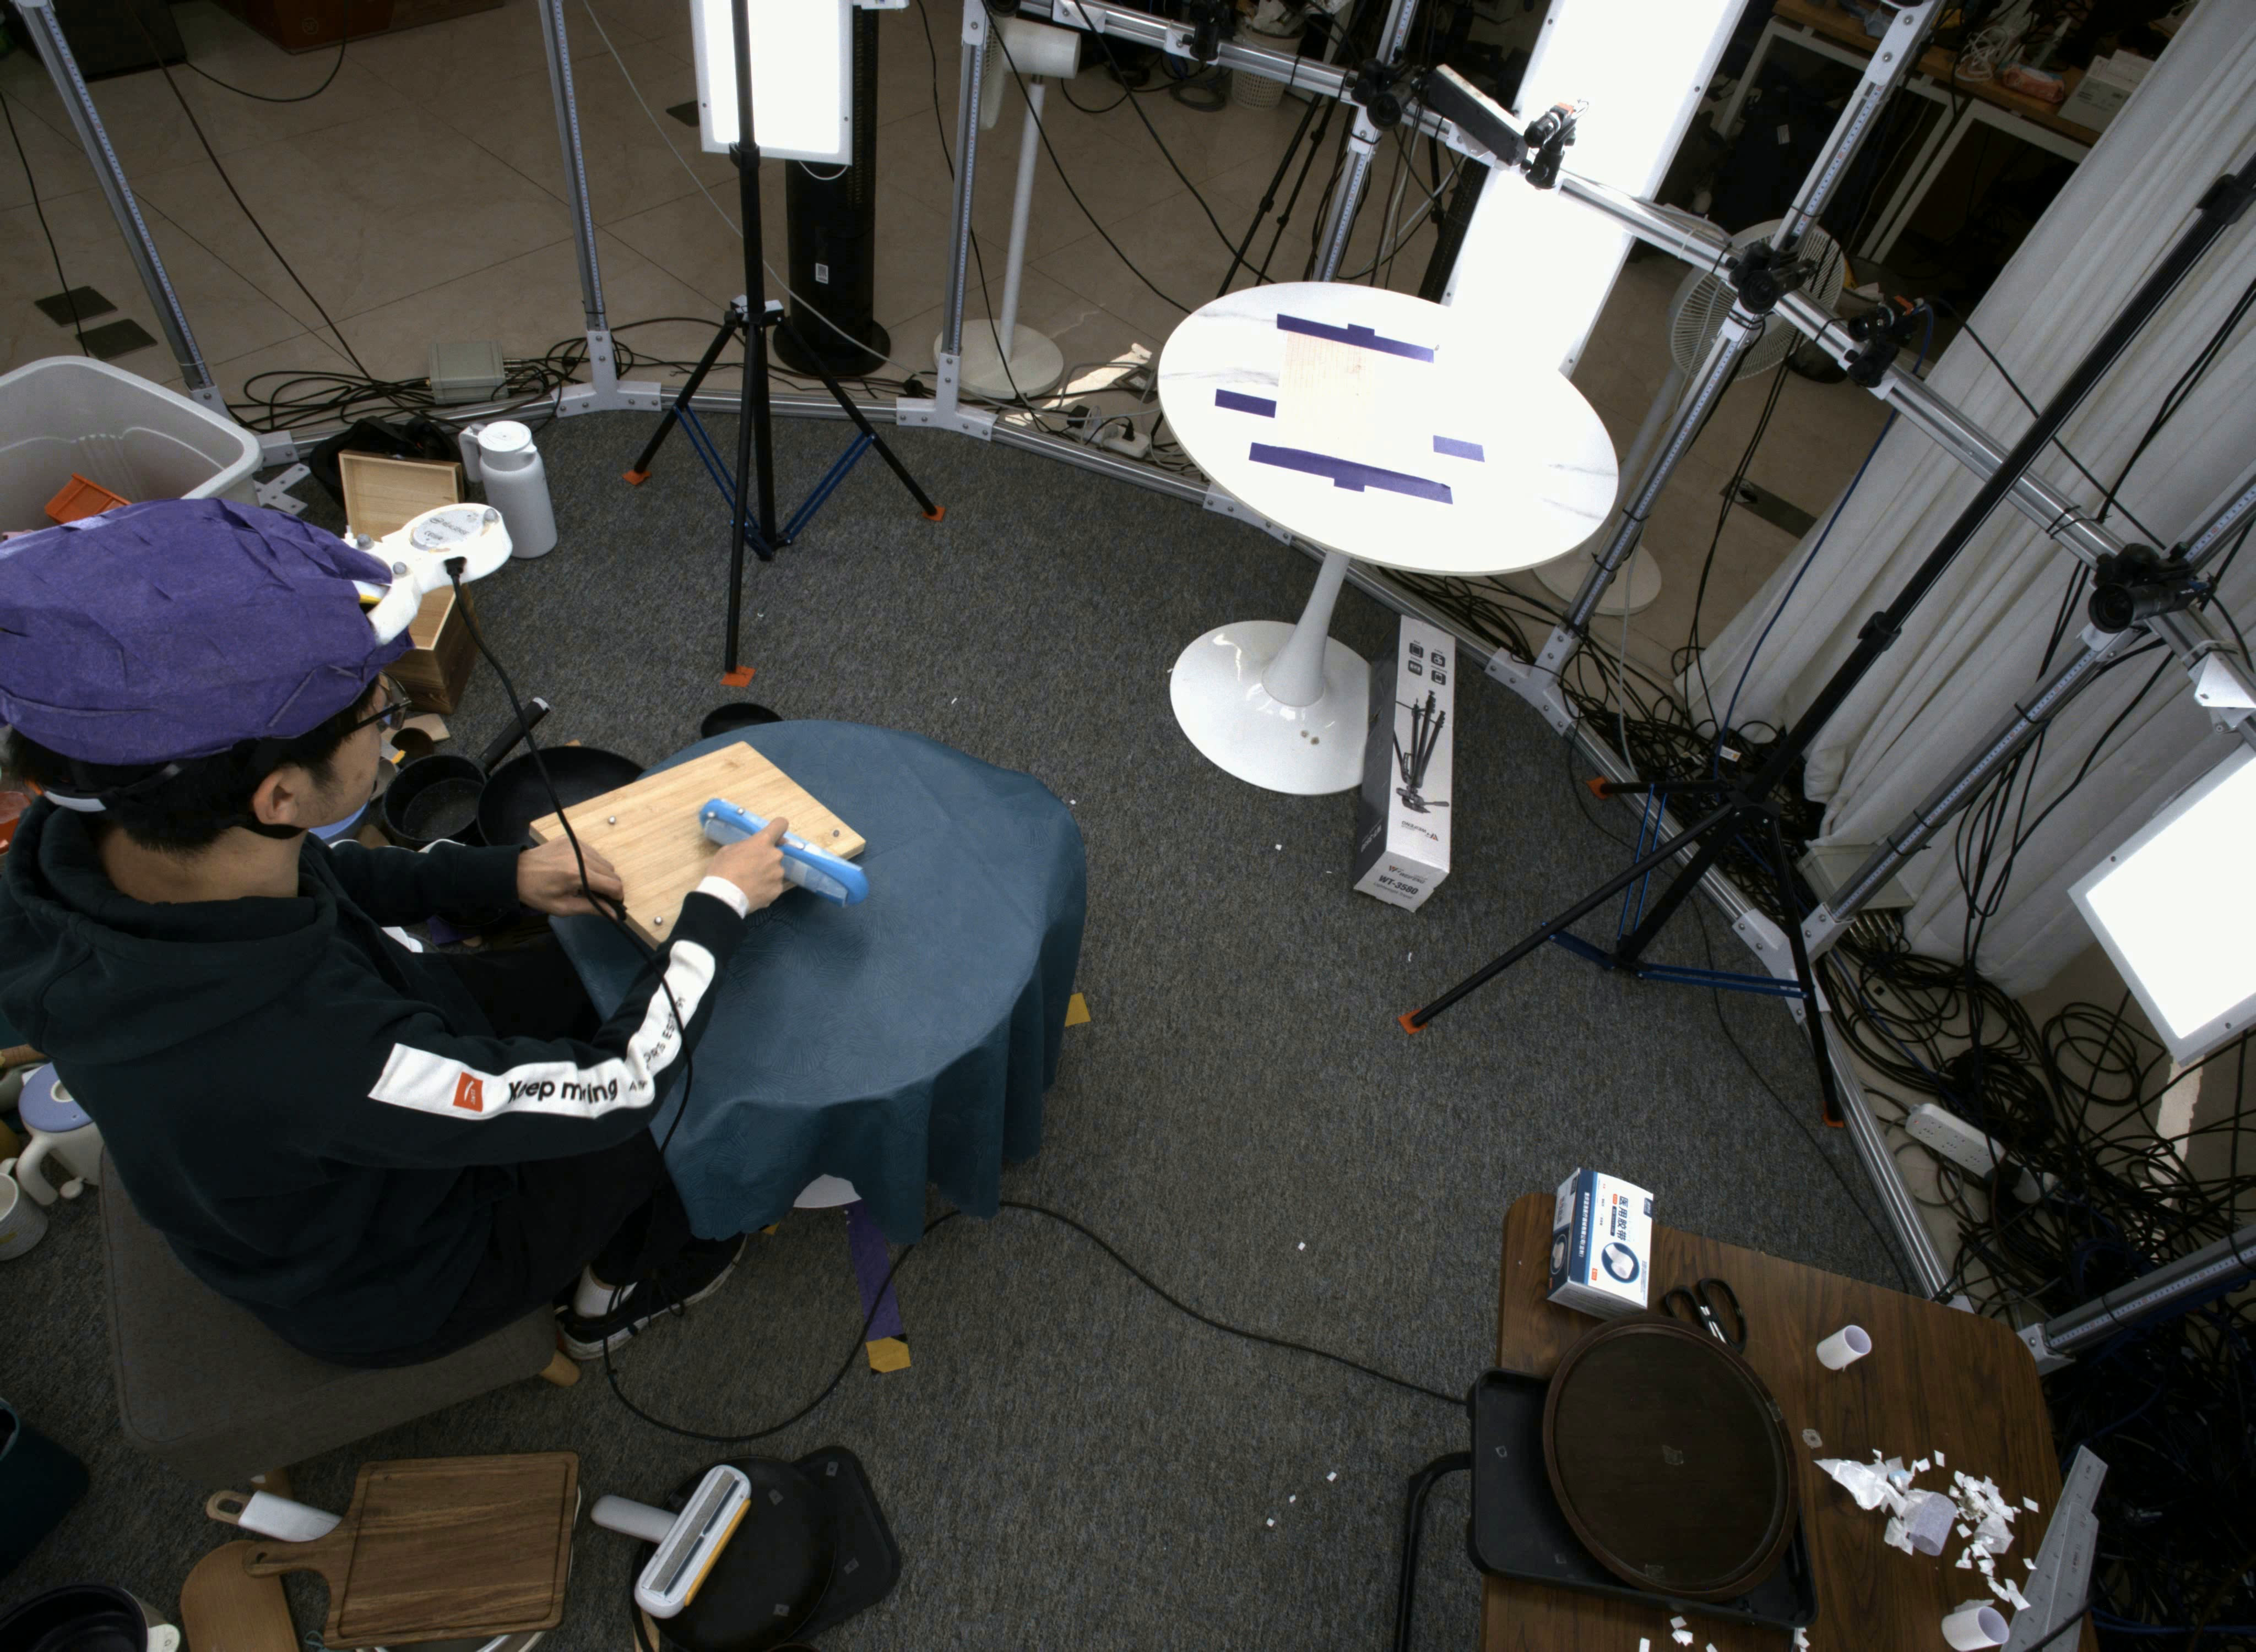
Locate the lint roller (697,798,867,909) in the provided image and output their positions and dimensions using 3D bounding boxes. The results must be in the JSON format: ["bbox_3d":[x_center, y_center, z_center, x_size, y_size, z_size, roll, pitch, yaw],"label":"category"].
[{"bbox_3d":[-0.432,0.044,1.541,0.229,0.068,0.178,28,14,-4],"label":"lint roller"}]

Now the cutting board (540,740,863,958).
[{"bbox_3d":[-0.533,0.015,1.612,0.246,0.024,0.350,38,36,14],"label":"cutting board"}]
